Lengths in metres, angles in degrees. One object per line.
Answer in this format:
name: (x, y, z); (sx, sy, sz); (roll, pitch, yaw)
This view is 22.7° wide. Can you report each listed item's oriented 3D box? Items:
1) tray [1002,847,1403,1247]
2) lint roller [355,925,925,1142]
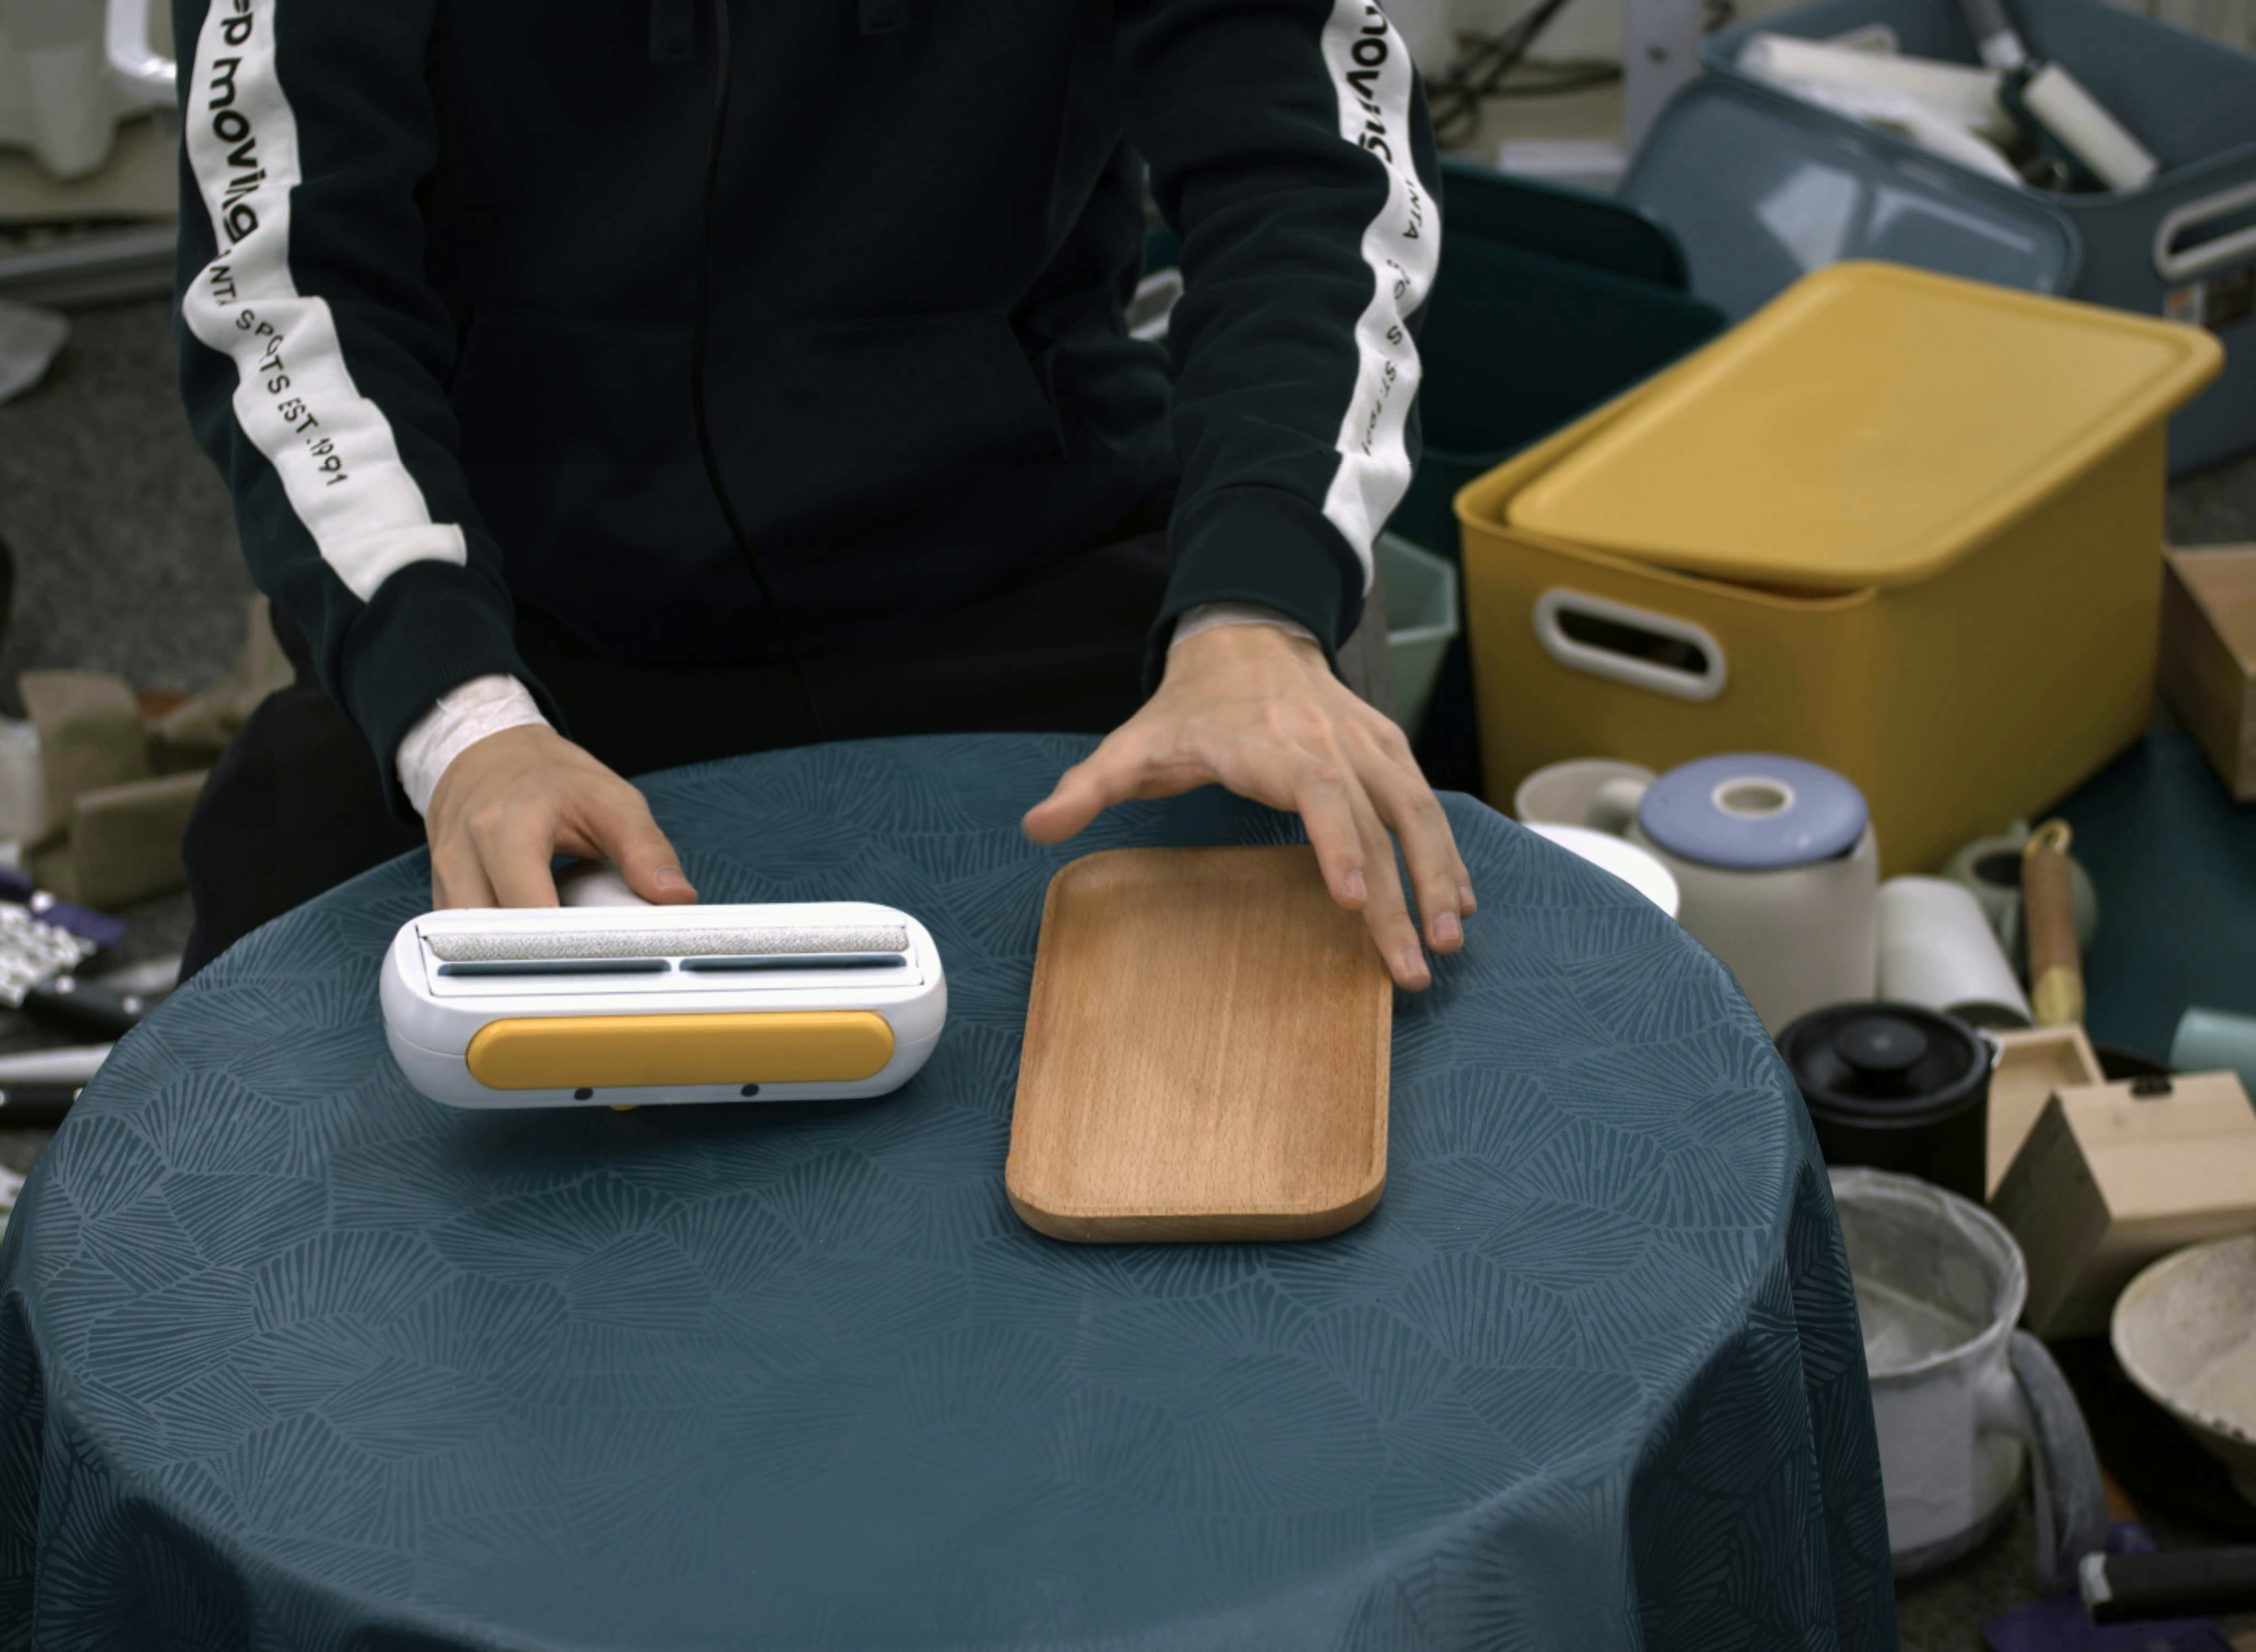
tray: (0.028, 0.073, 1.933); (0.130, 0.022, 0.254); (1, 27, 4)
lint roller: (-0.174, 0.061, 1.961); (0.192, 0.074, 0.193); (-1, 13, -10)
